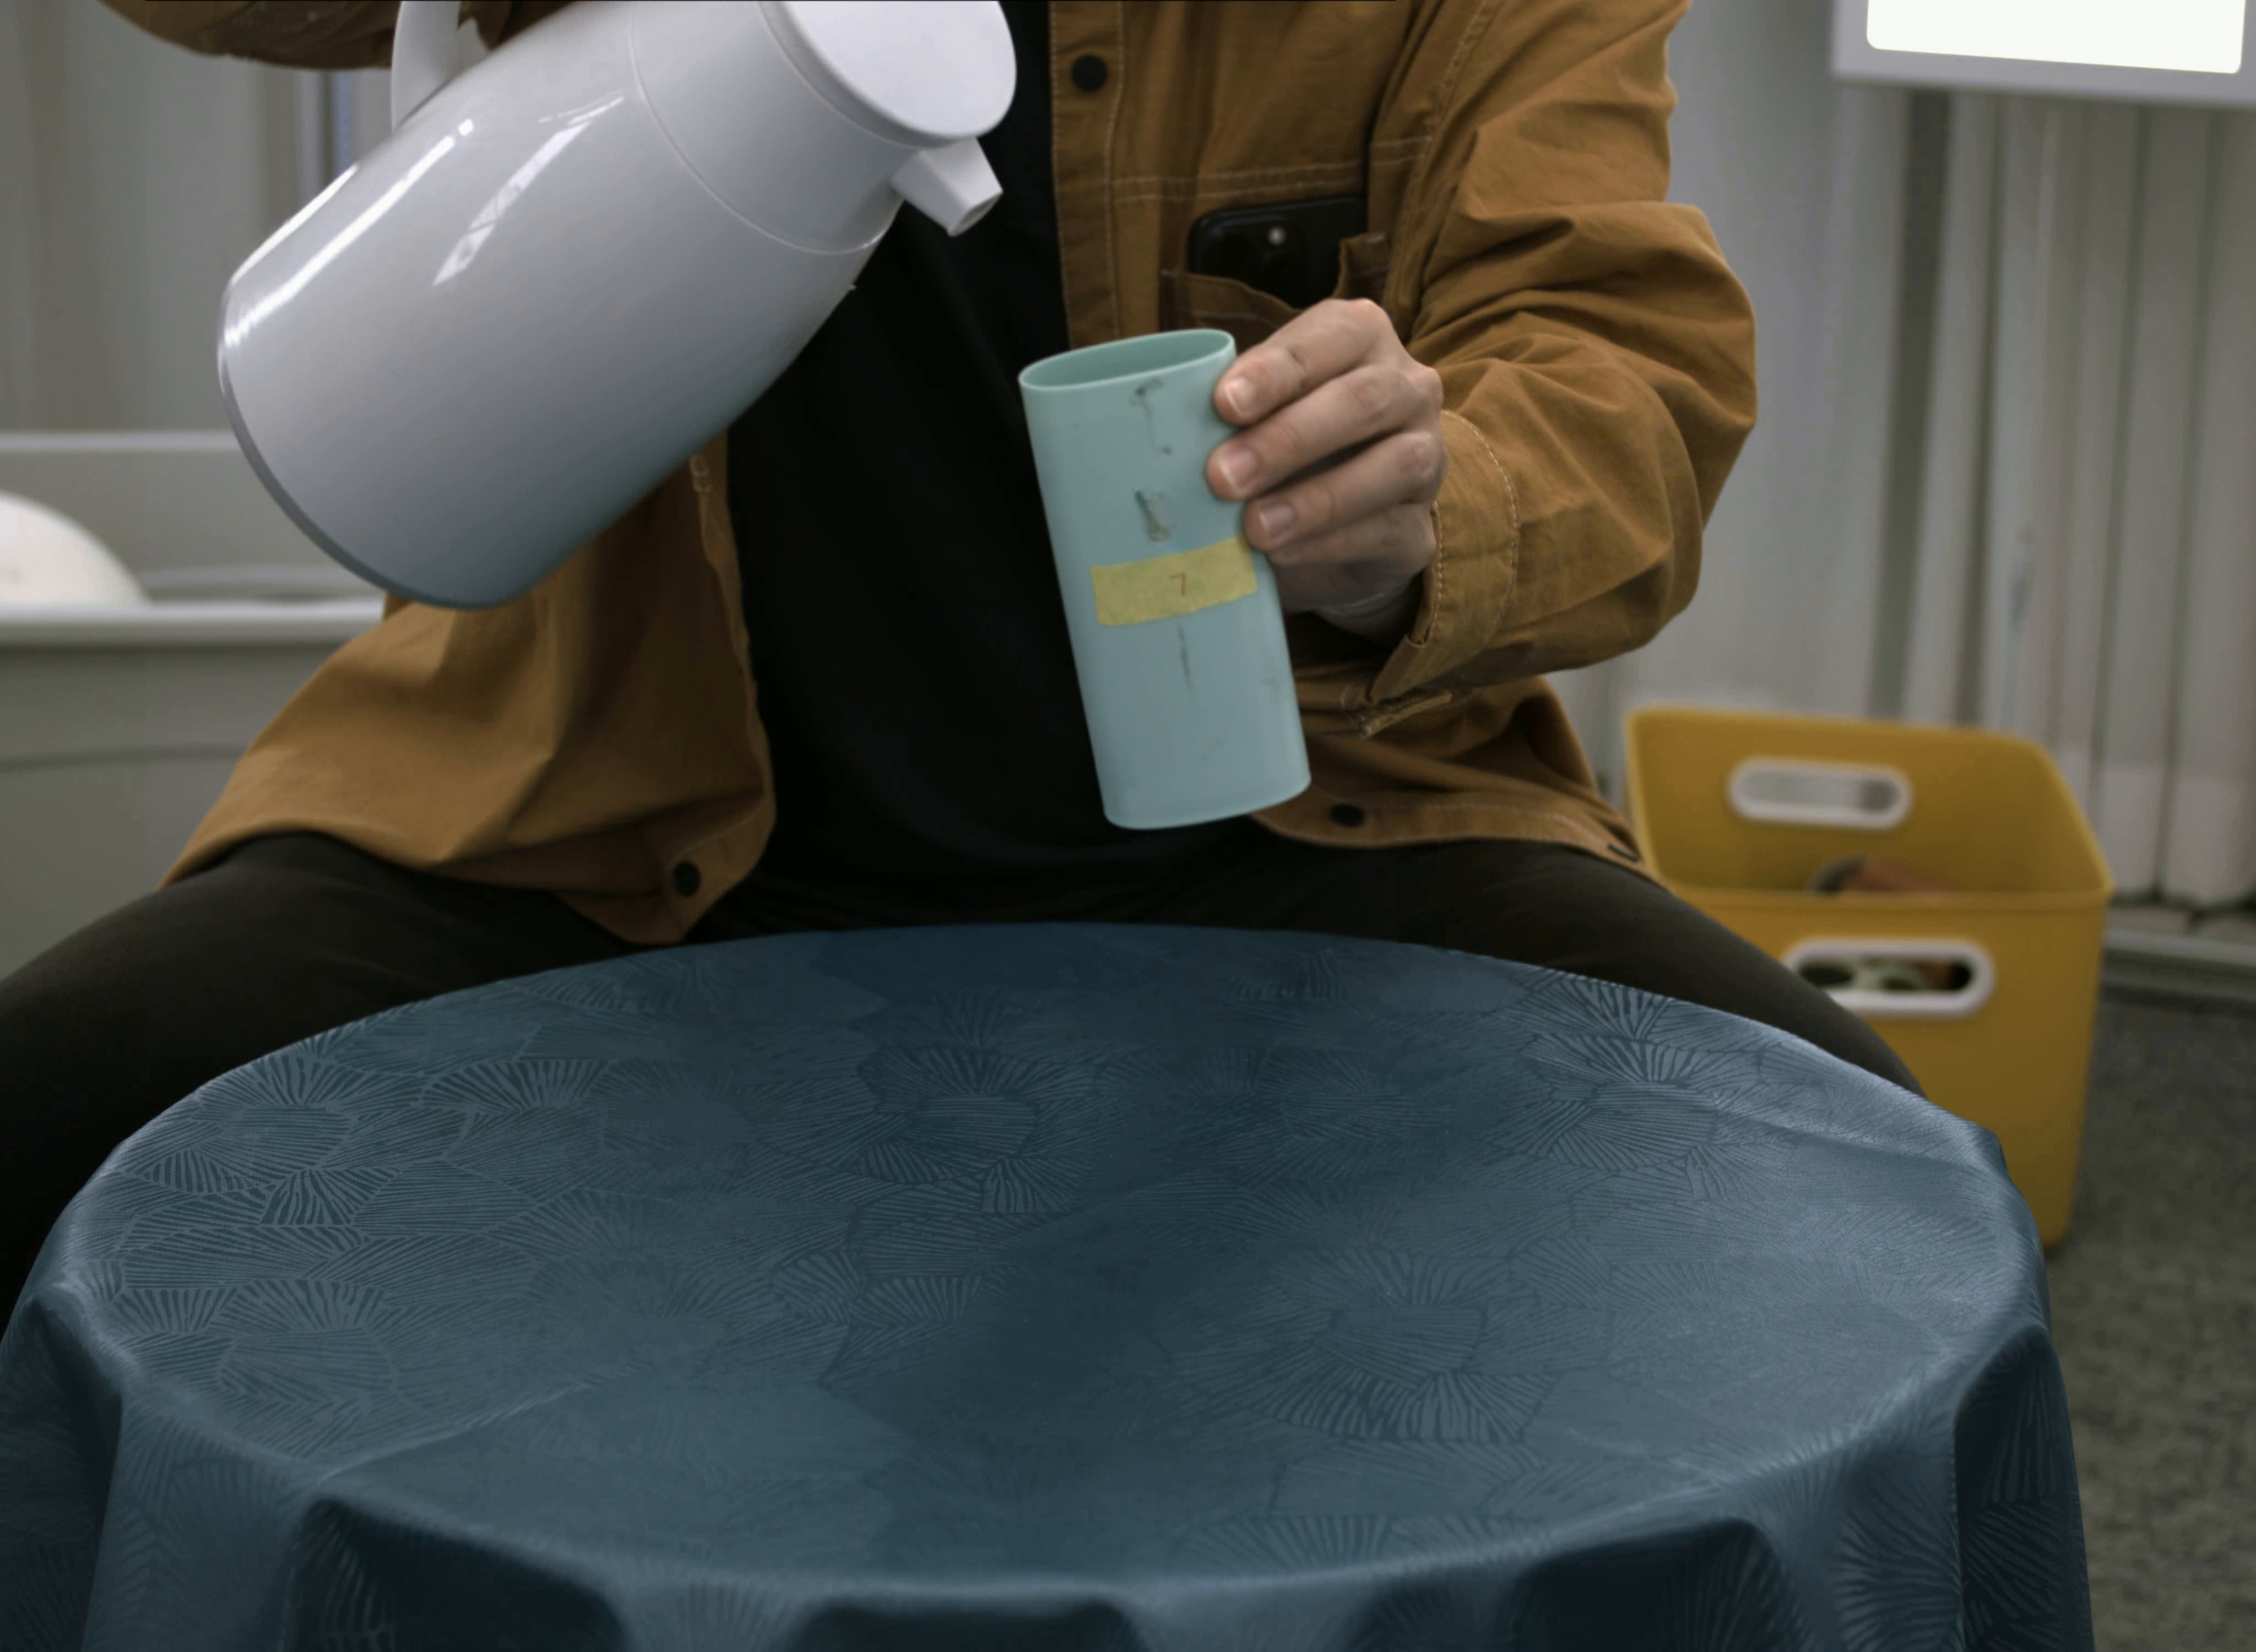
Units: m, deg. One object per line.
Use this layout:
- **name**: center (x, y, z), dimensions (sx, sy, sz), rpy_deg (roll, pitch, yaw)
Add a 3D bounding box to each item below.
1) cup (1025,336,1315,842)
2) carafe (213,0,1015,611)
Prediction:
- **cup**: center (0.013, -0.068, 1.497), dimensions (0.066, 0.133, 0.066), rpy_deg (-9, 16, 3)
- **carafe**: center (-0.154, -0.194, 1.524), dimensions (0.248, 0.168, 0.132), rpy_deg (-36, 3, 37)
